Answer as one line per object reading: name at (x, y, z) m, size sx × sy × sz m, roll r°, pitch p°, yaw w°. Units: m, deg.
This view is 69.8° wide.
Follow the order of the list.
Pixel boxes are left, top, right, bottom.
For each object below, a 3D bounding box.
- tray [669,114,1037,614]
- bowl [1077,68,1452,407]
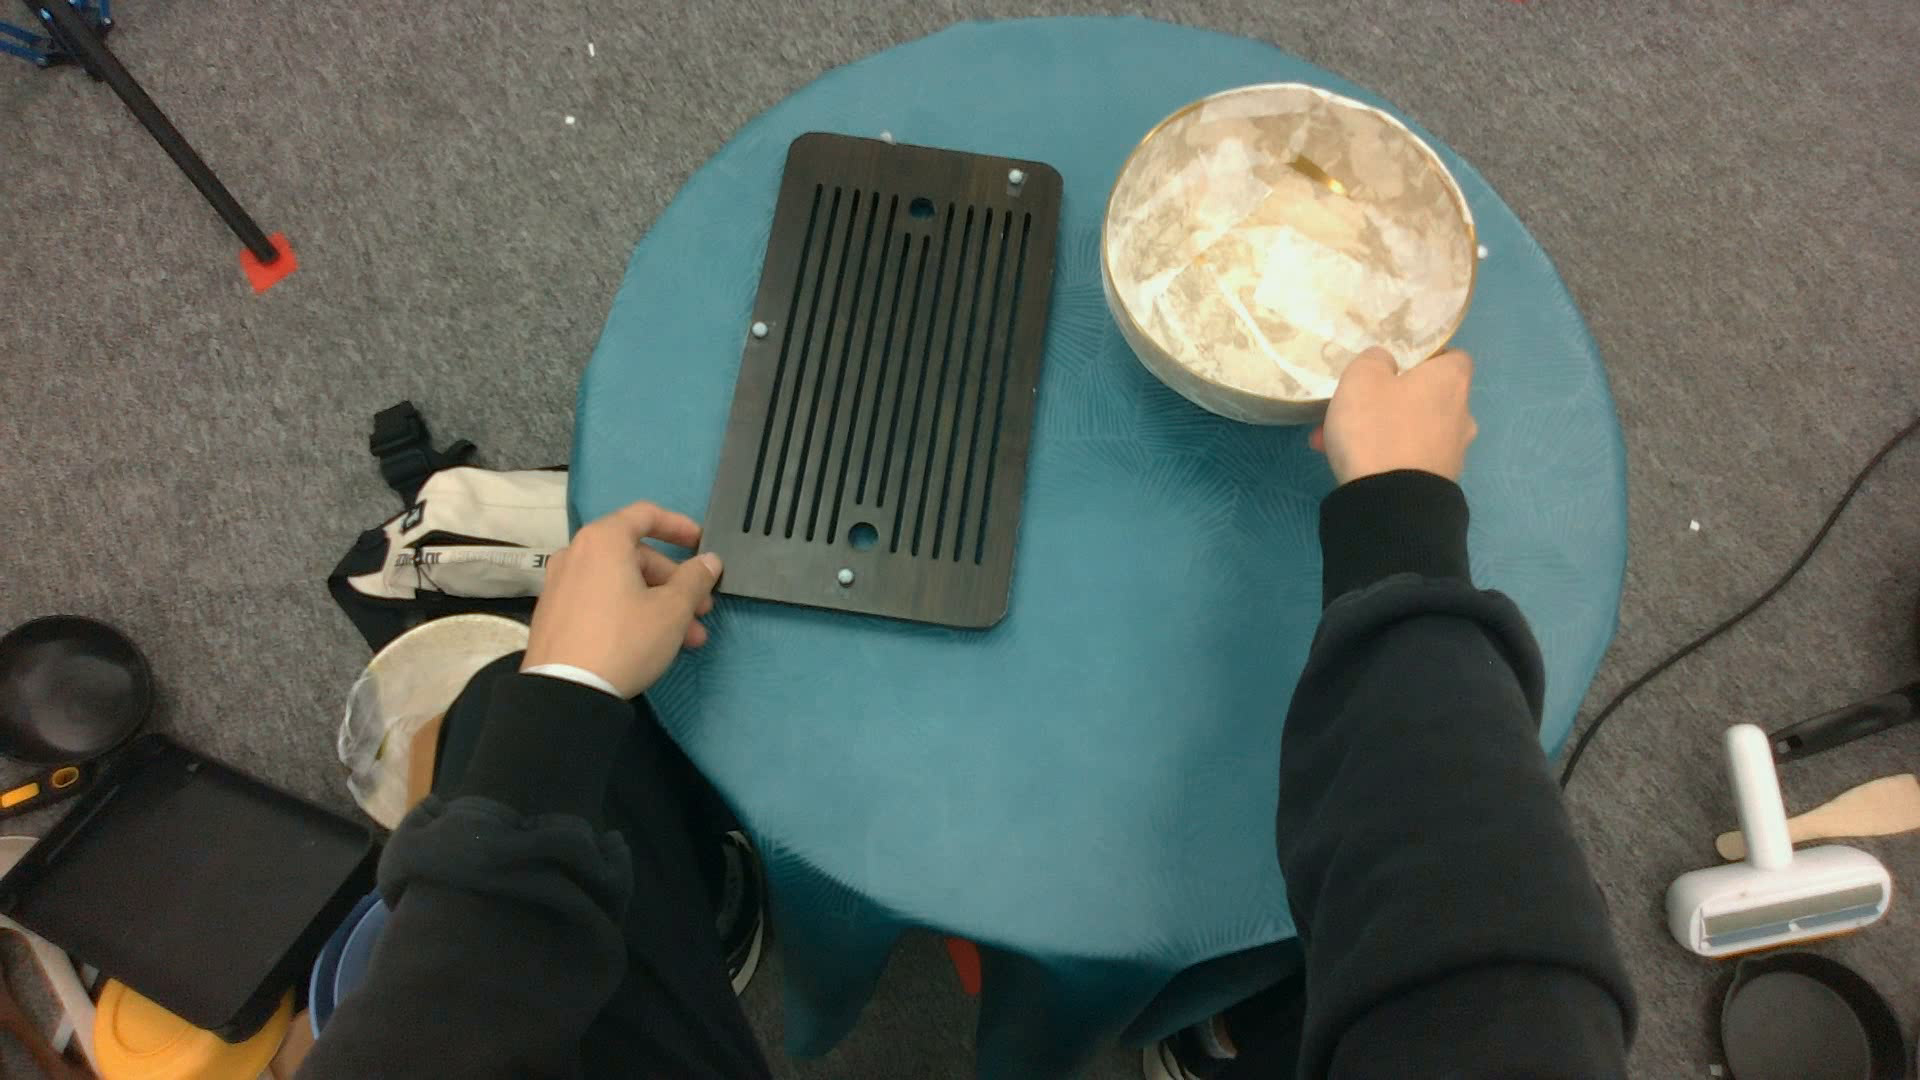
tray at (-0.054, -0.109, 0.790) m, size 0.170 × 0.018 × 0.307 m, roll 7°, pitch 68°, yaw 1°
bowl at (0.160, -0.155, 0.779) m, size 0.215 × 0.094 × 0.215 m, roll 1°, pitch 68°, yaw -3°
